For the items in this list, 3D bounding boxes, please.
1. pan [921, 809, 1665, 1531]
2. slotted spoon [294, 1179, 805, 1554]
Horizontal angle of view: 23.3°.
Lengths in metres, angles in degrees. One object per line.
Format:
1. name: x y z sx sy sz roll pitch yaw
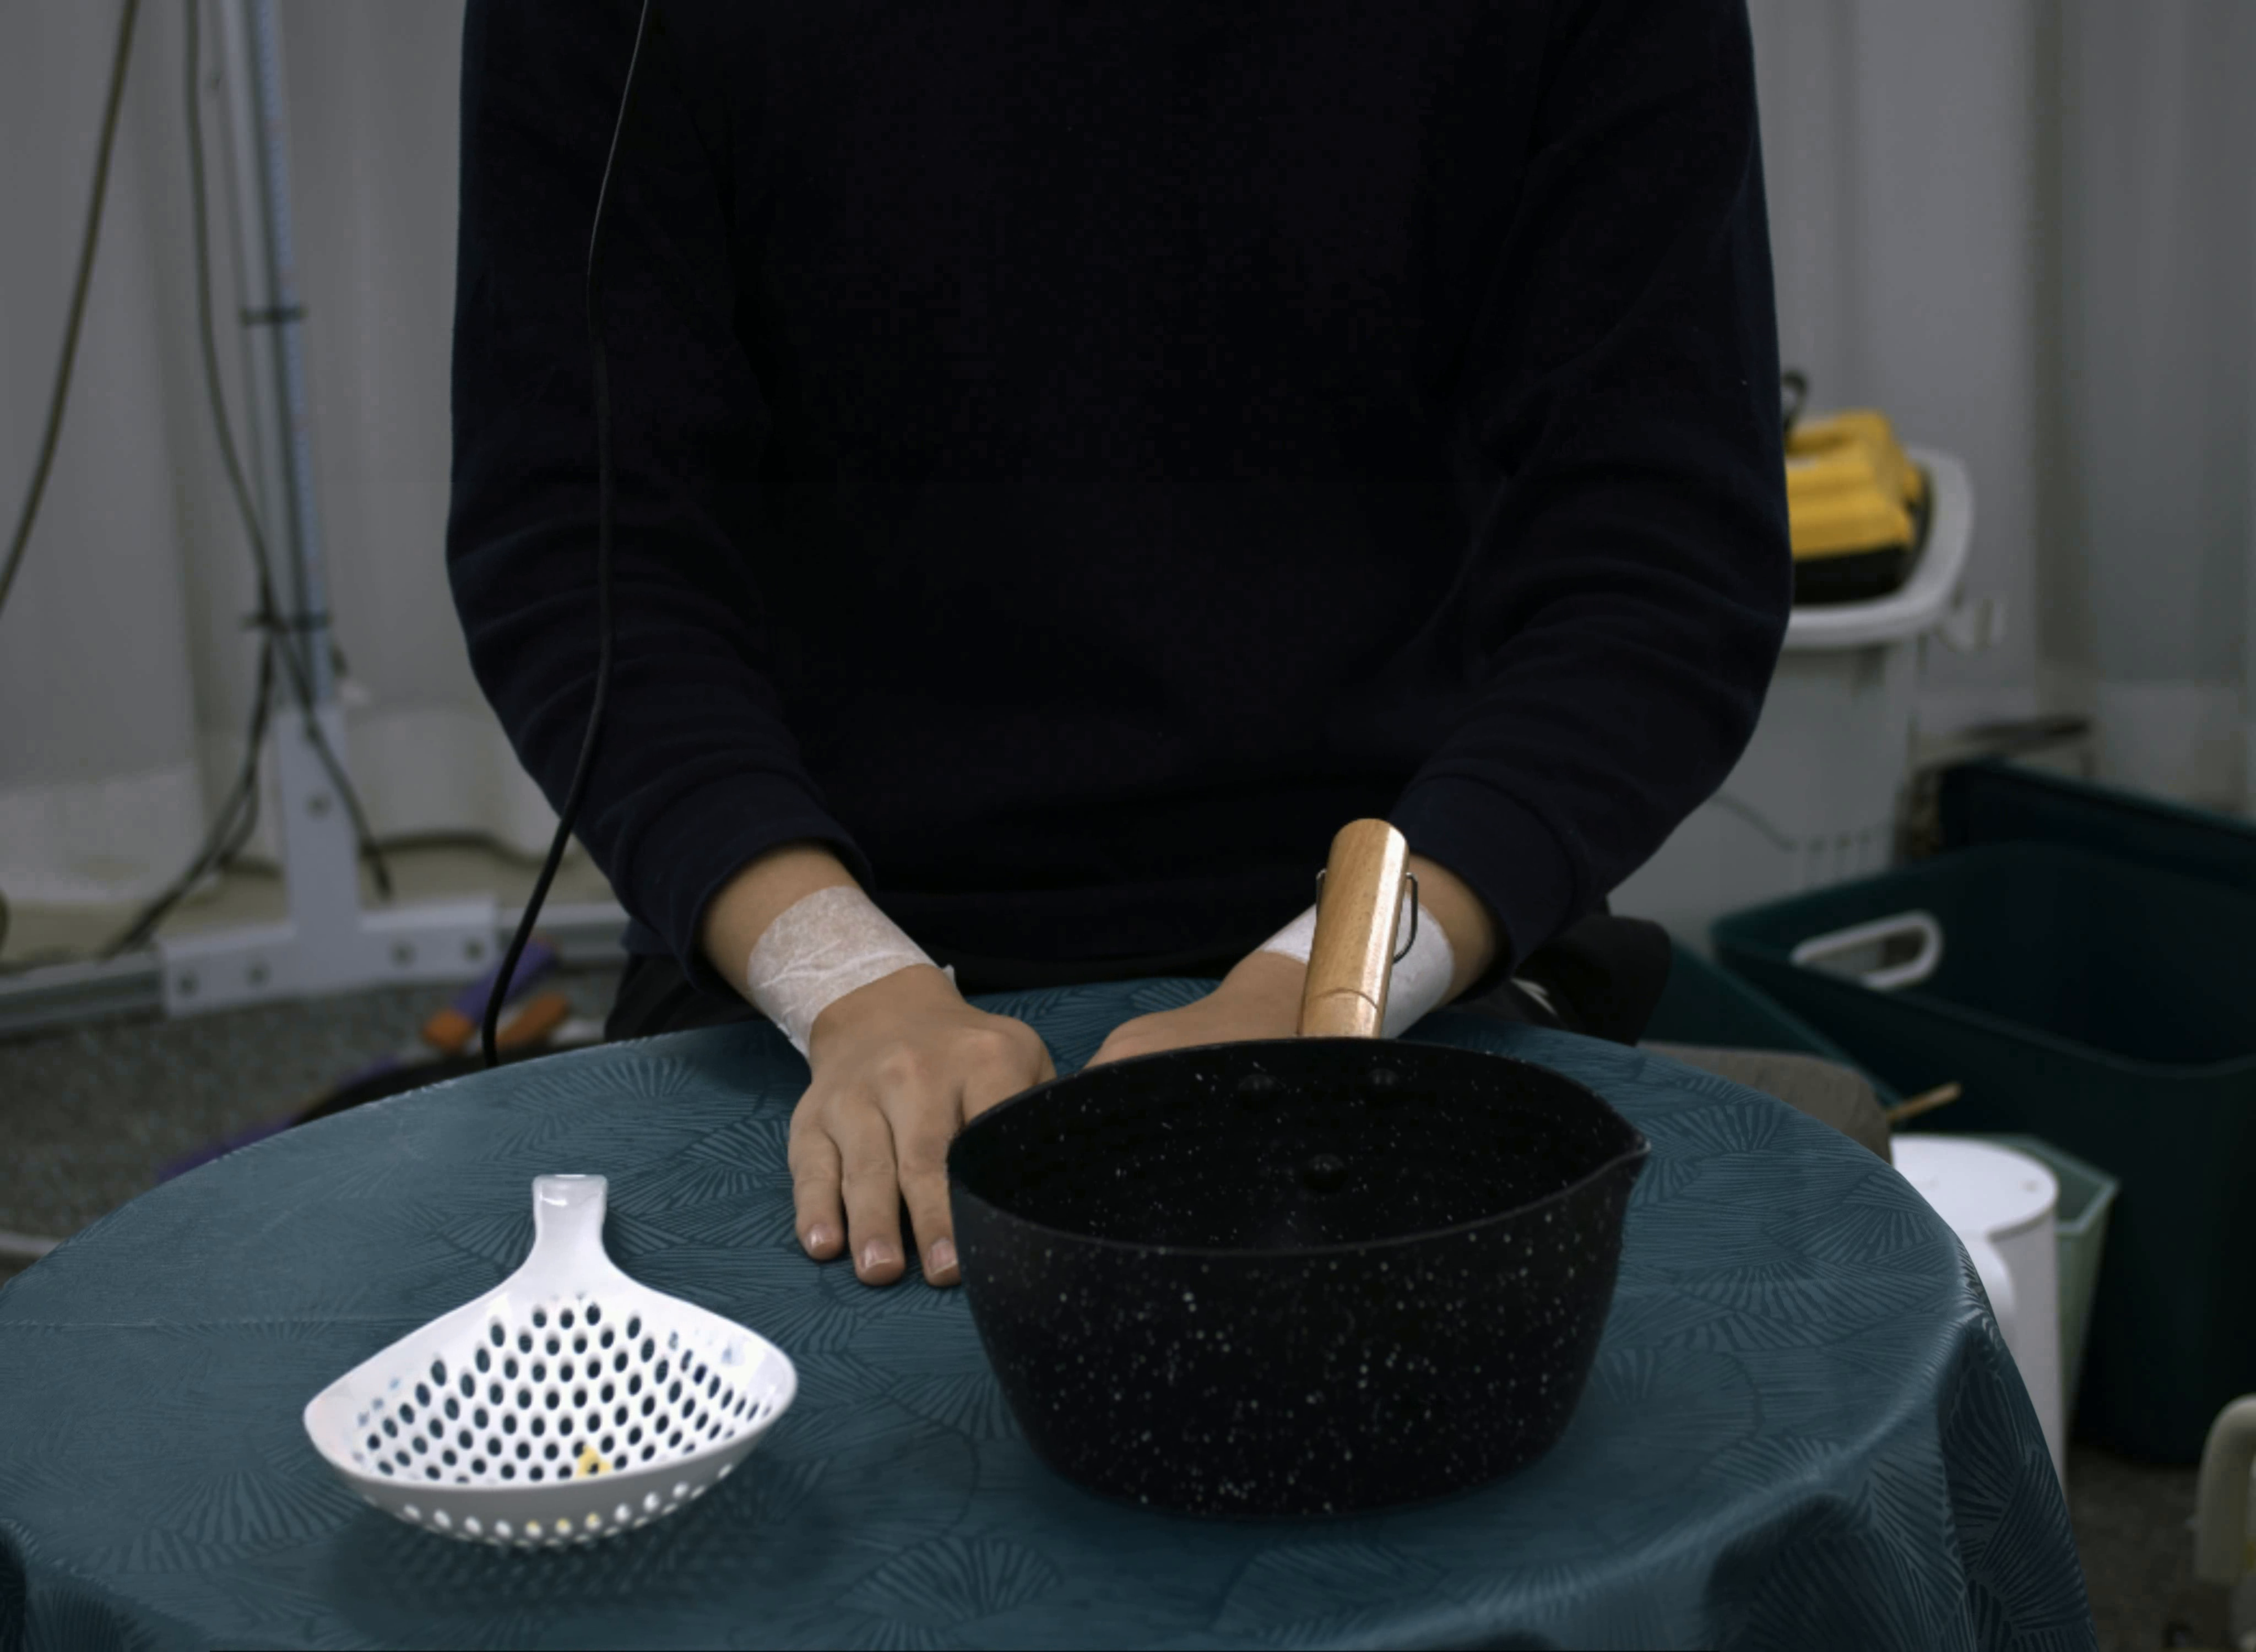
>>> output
1. pan: 0.054 0.093 1.577 0.207 0.108 0.345 -2 16 8
2. slotted spoon: -0.164 0.140 1.570 0.136 0.050 0.351 -6 17 -4
